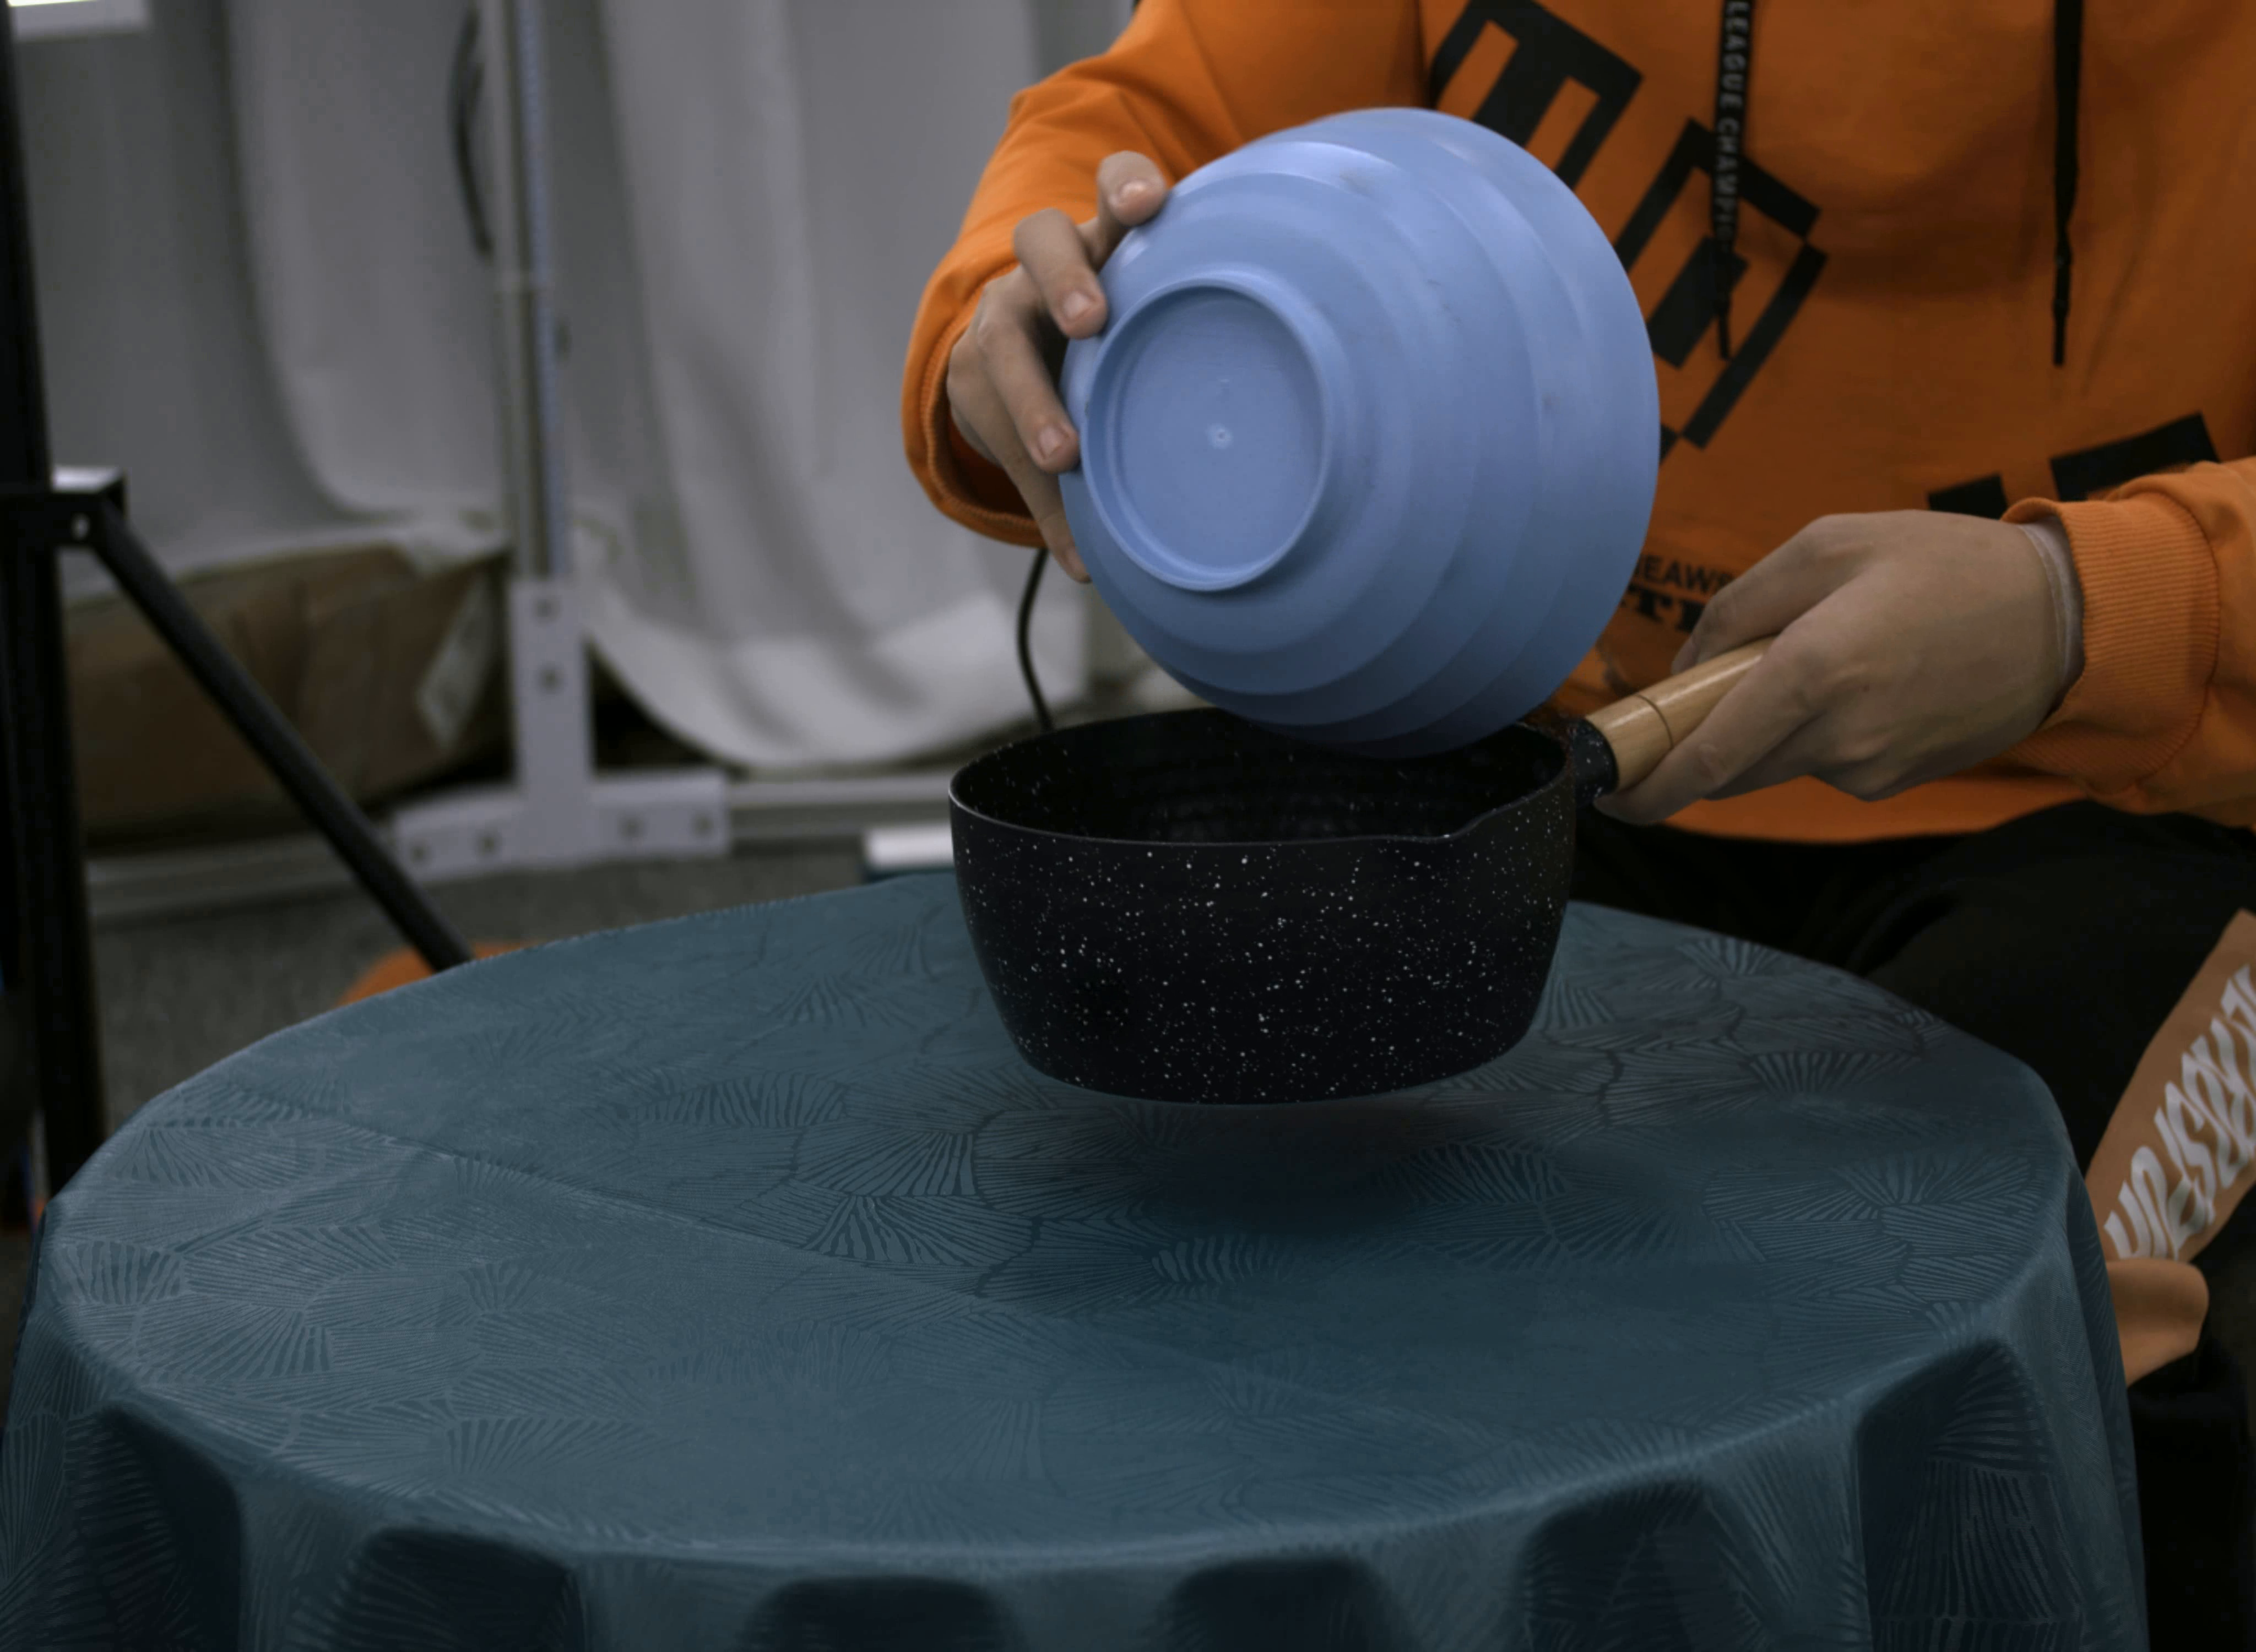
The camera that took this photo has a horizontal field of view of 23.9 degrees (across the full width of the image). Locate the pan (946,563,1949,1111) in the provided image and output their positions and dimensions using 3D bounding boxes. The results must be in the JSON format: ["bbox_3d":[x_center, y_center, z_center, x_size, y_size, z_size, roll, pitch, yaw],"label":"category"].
[{"bbox_3d":[0.108,0.000,1.600,0.335,0.108,0.212,-12,15,-28],"label":"pan"}]

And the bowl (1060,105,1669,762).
[{"bbox_3d":[0.052,-0.116,1.573,0.200,0.197,0.093,10,8,37],"label":"bowl"}]
